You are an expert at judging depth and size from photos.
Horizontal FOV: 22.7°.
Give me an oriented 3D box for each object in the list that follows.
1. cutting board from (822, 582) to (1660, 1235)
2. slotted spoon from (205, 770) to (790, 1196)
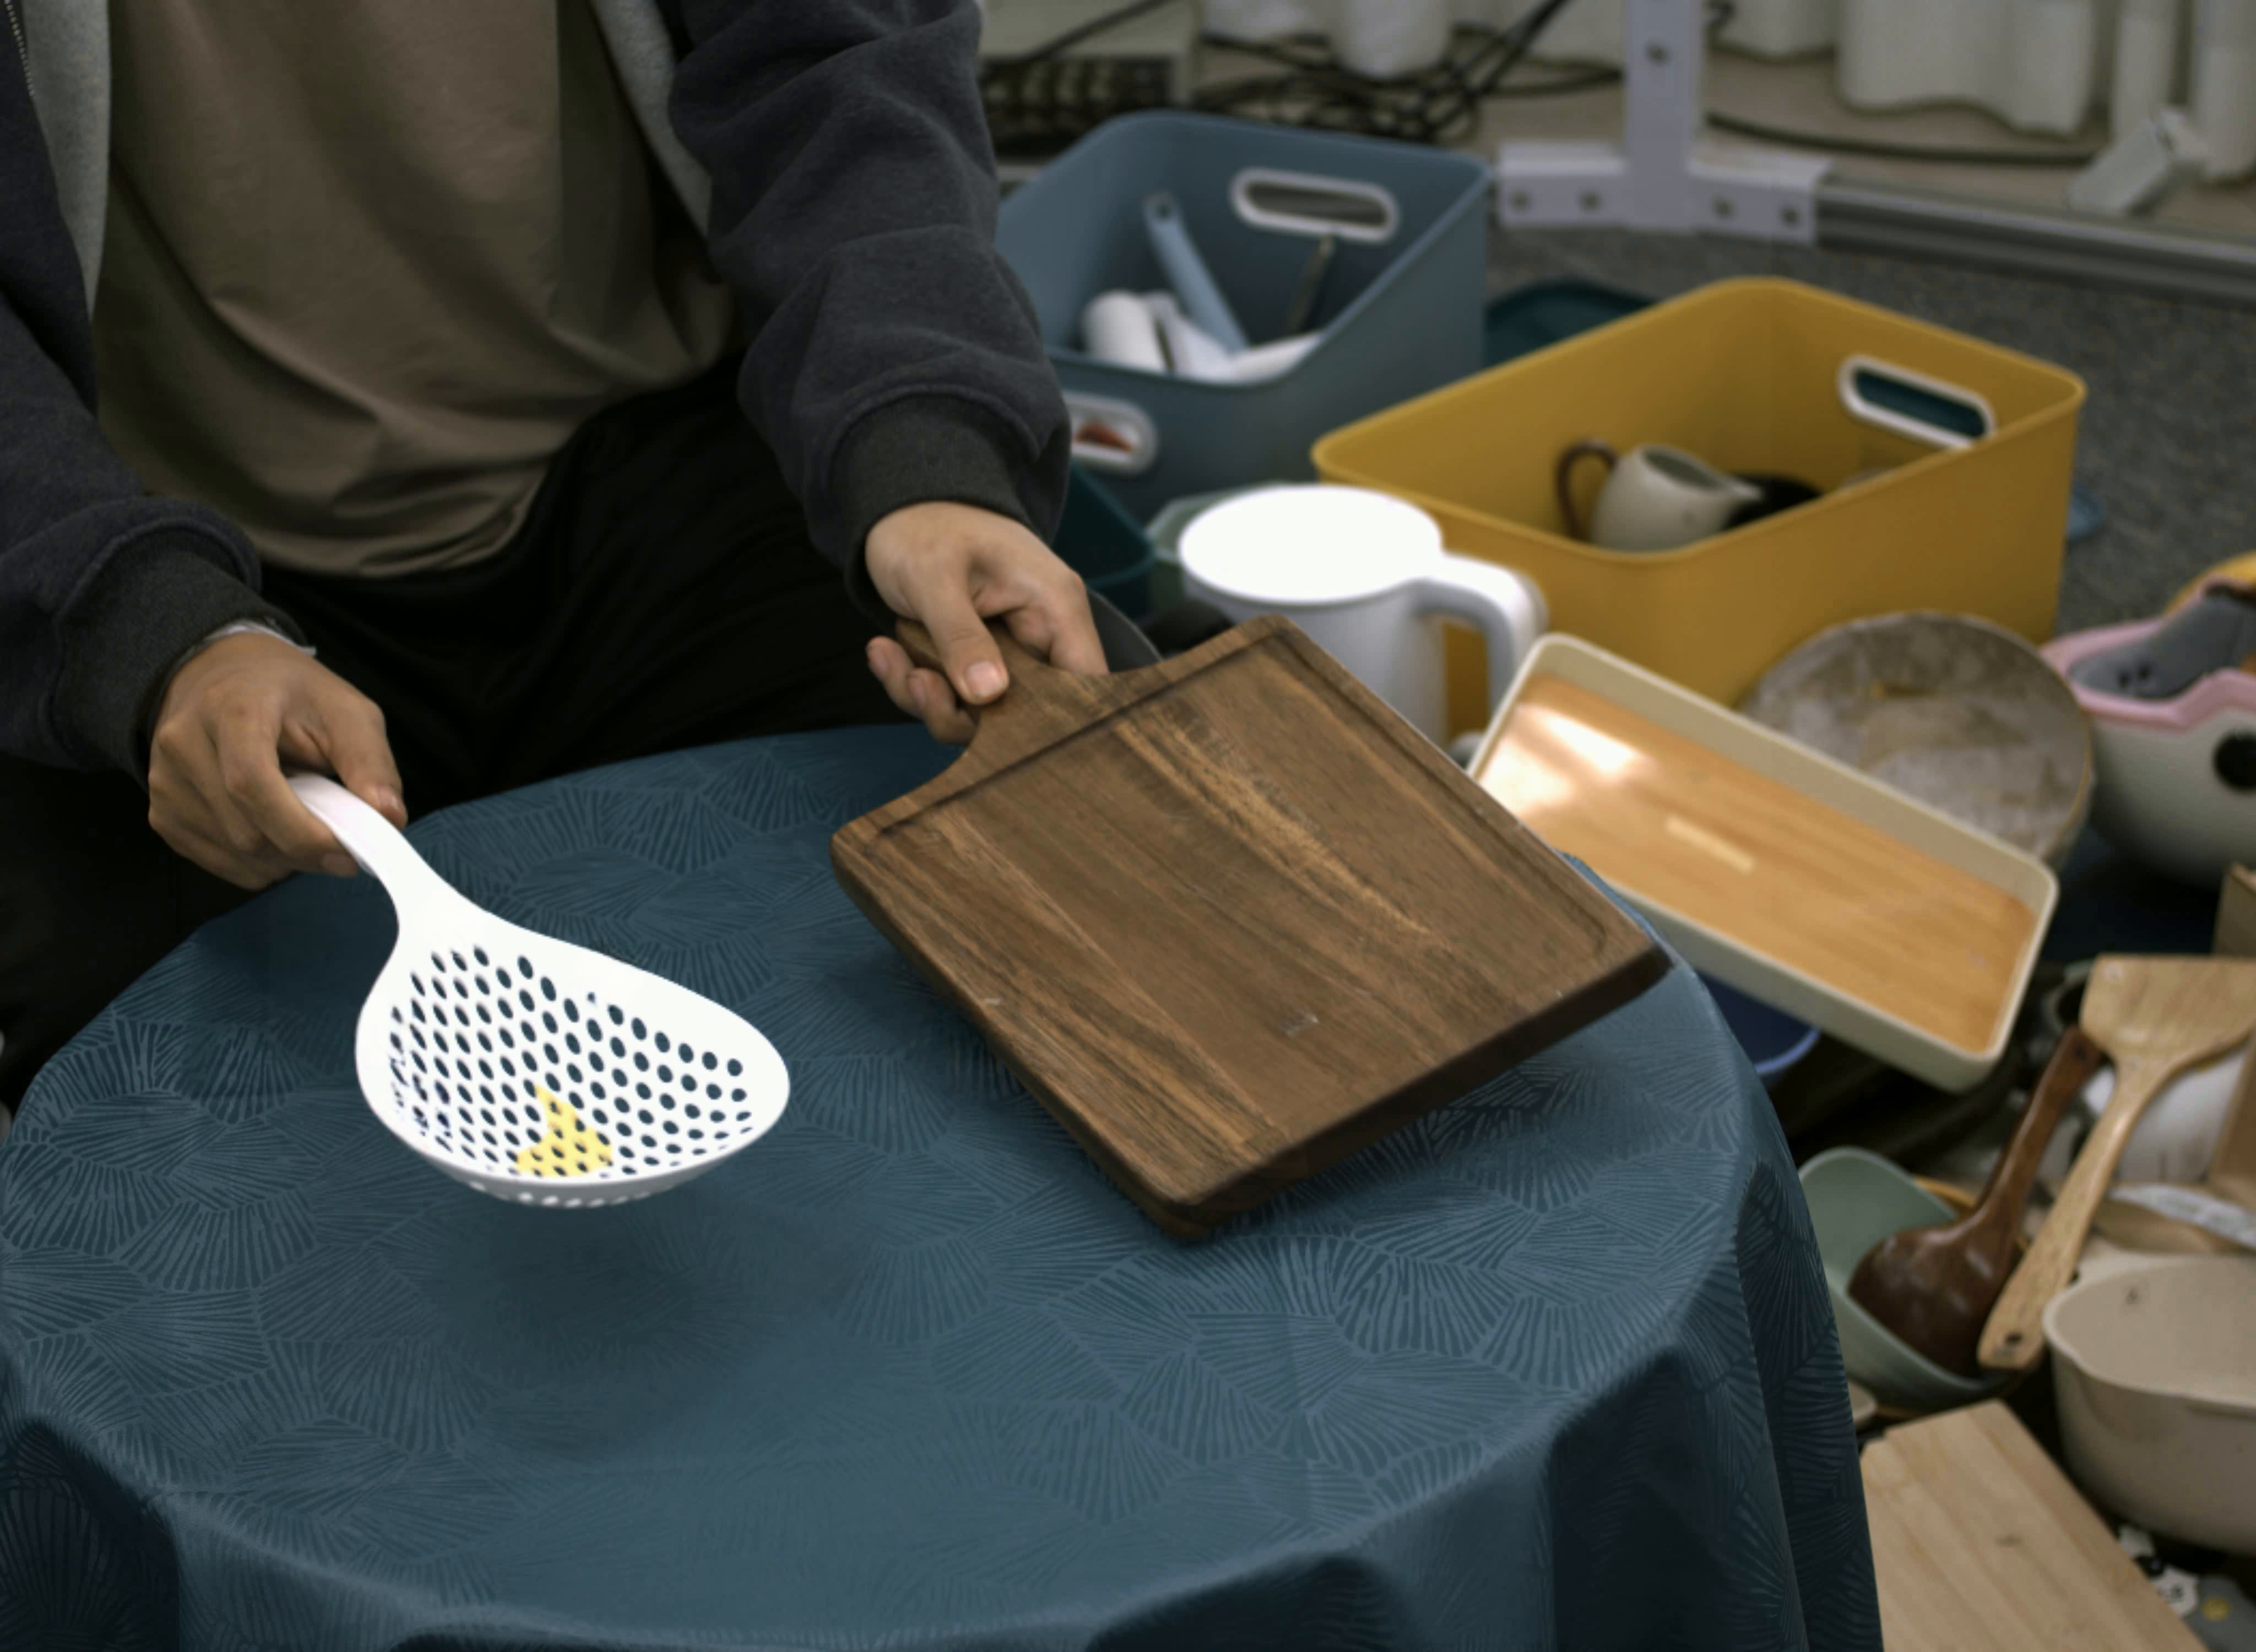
[{"bbox_3d":[0.010,0.002,1.975,0.202,0.023,0.354,-27,41,-18],"label":"cutting board"},{"bbox_3d":[-0.233,0.041,1.886,0.137,0.050,0.350,-11,33,-28],"label":"slotted spoon"}]
